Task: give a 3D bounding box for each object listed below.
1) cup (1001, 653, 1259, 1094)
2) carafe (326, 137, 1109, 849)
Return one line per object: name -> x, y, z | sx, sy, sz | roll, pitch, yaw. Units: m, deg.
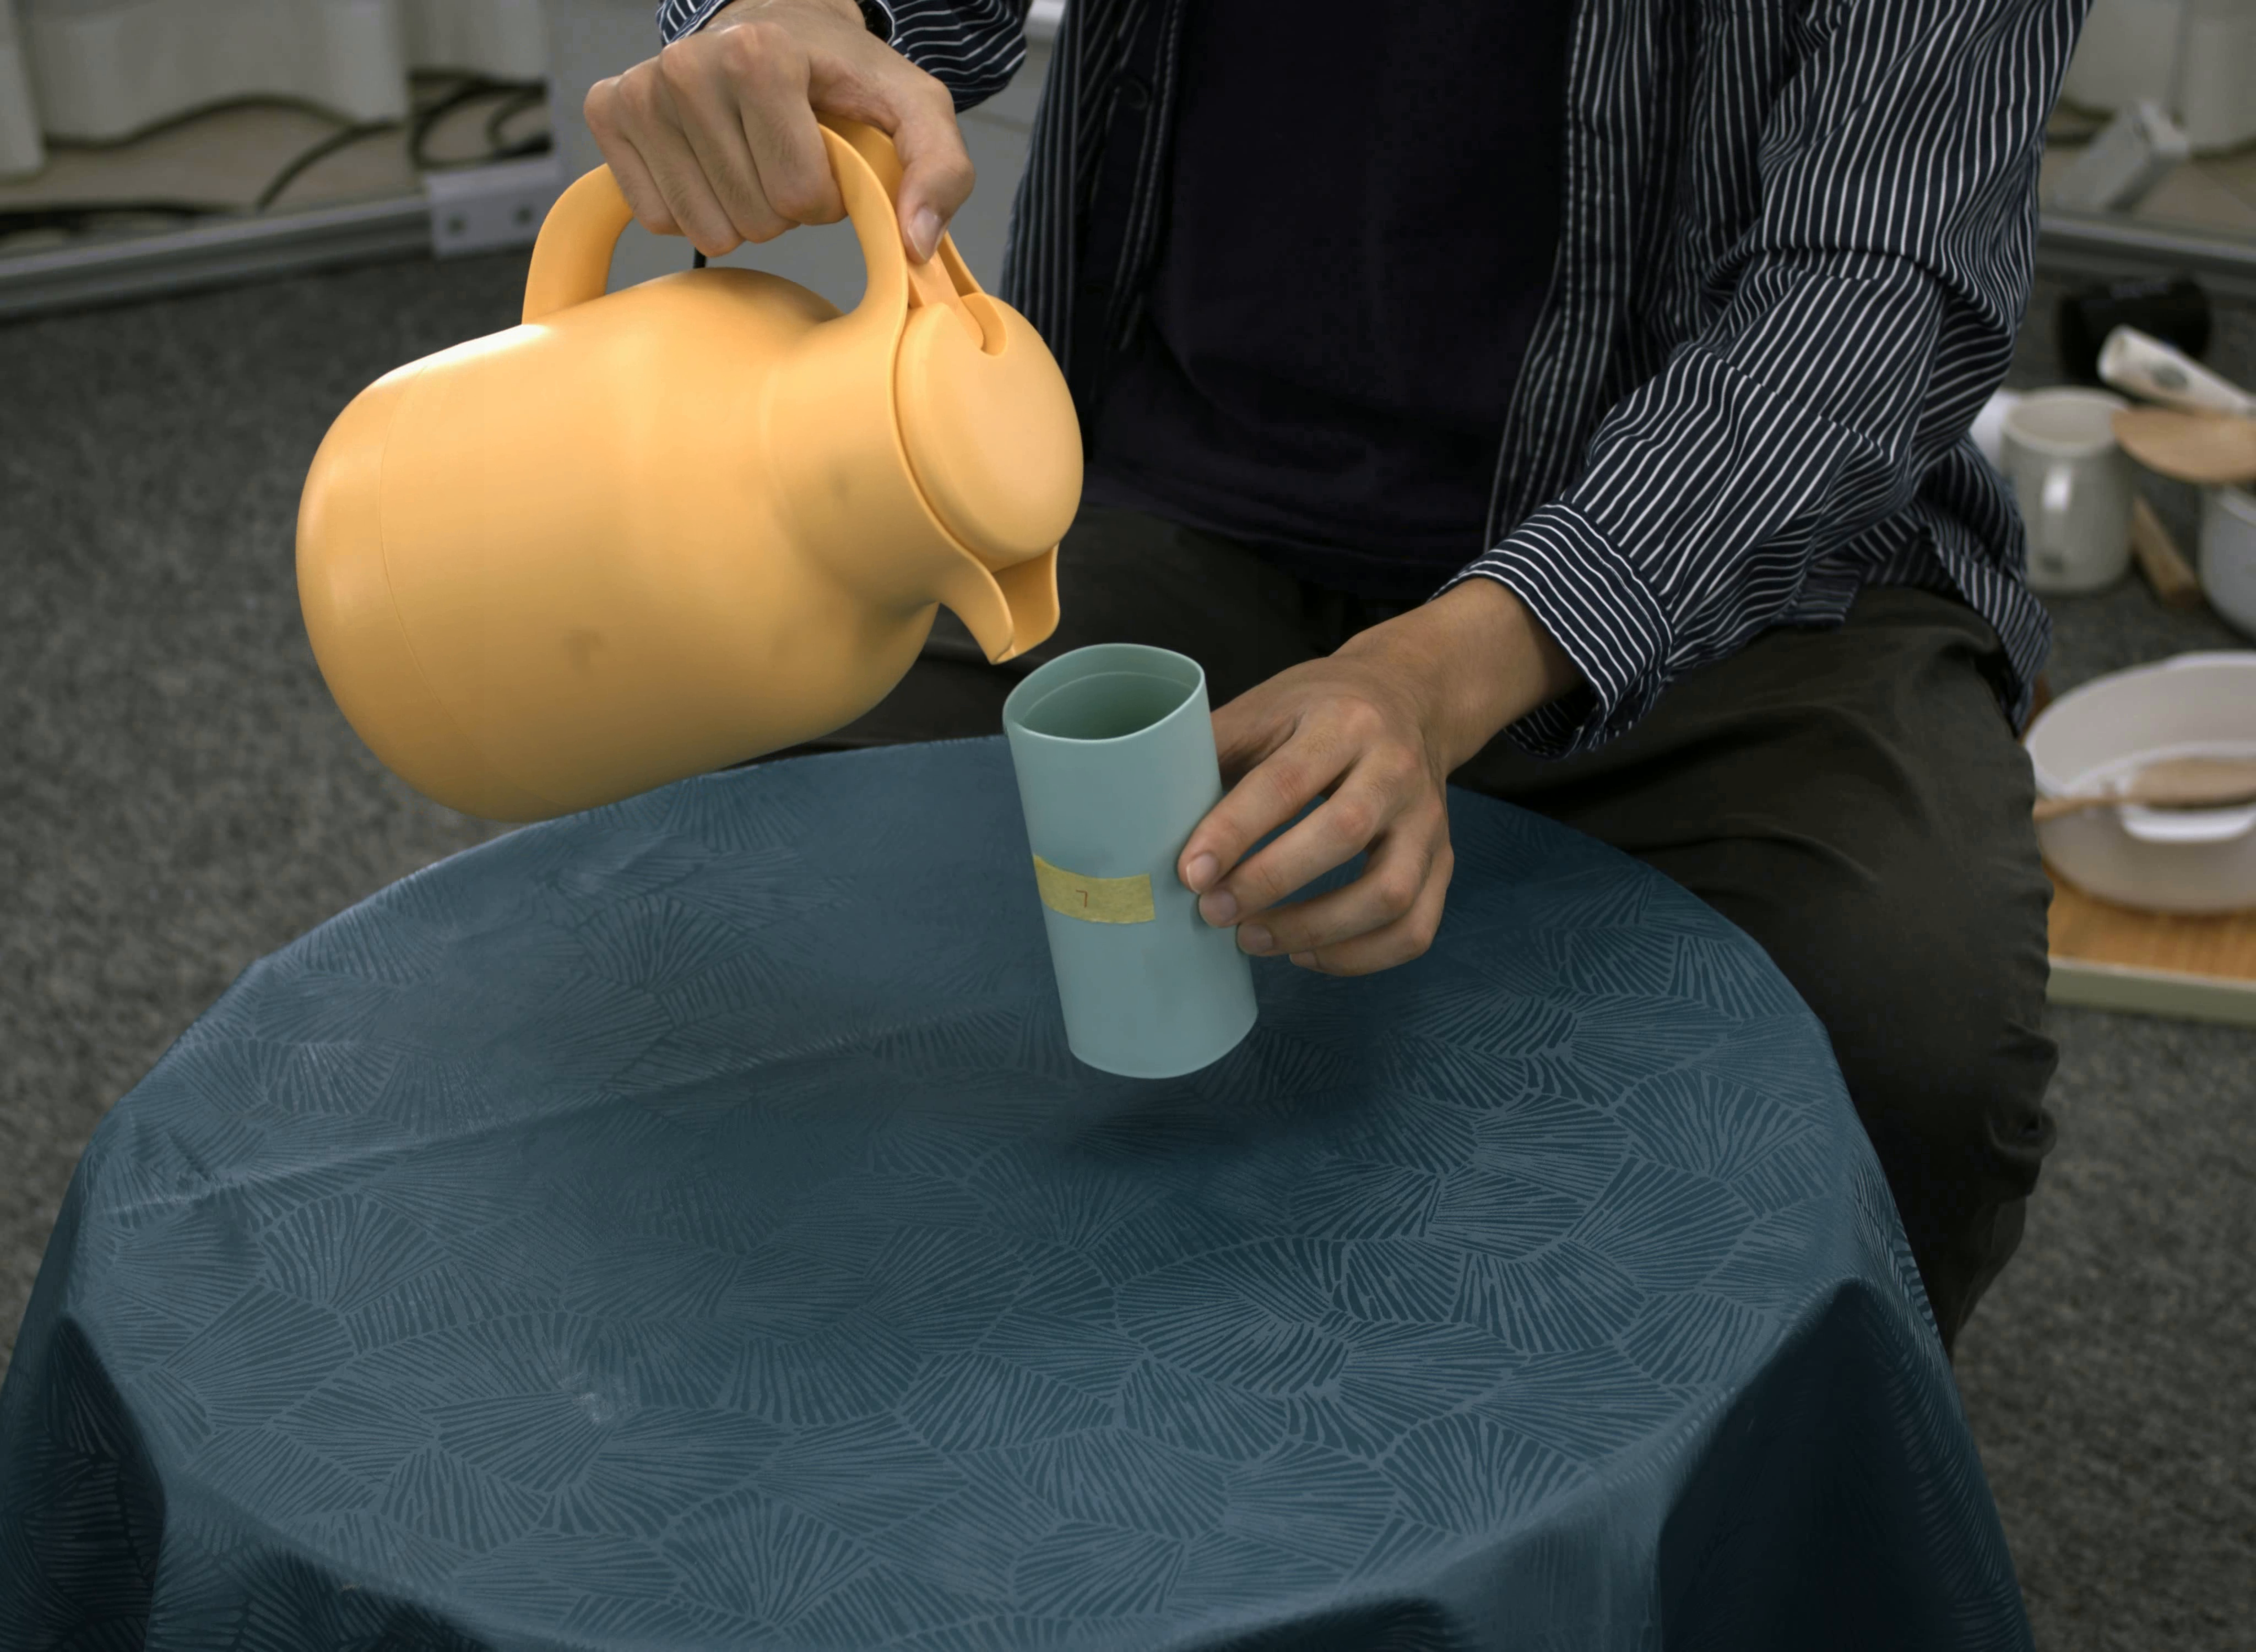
cup -> 0.002, 0.015, 1.845 | 0.066, 0.131, 0.068 | -8, 28, 5
carafe -> -0.135, -0.112, 1.863 | 0.257, 0.203, 0.165 | -16, 2, 32
